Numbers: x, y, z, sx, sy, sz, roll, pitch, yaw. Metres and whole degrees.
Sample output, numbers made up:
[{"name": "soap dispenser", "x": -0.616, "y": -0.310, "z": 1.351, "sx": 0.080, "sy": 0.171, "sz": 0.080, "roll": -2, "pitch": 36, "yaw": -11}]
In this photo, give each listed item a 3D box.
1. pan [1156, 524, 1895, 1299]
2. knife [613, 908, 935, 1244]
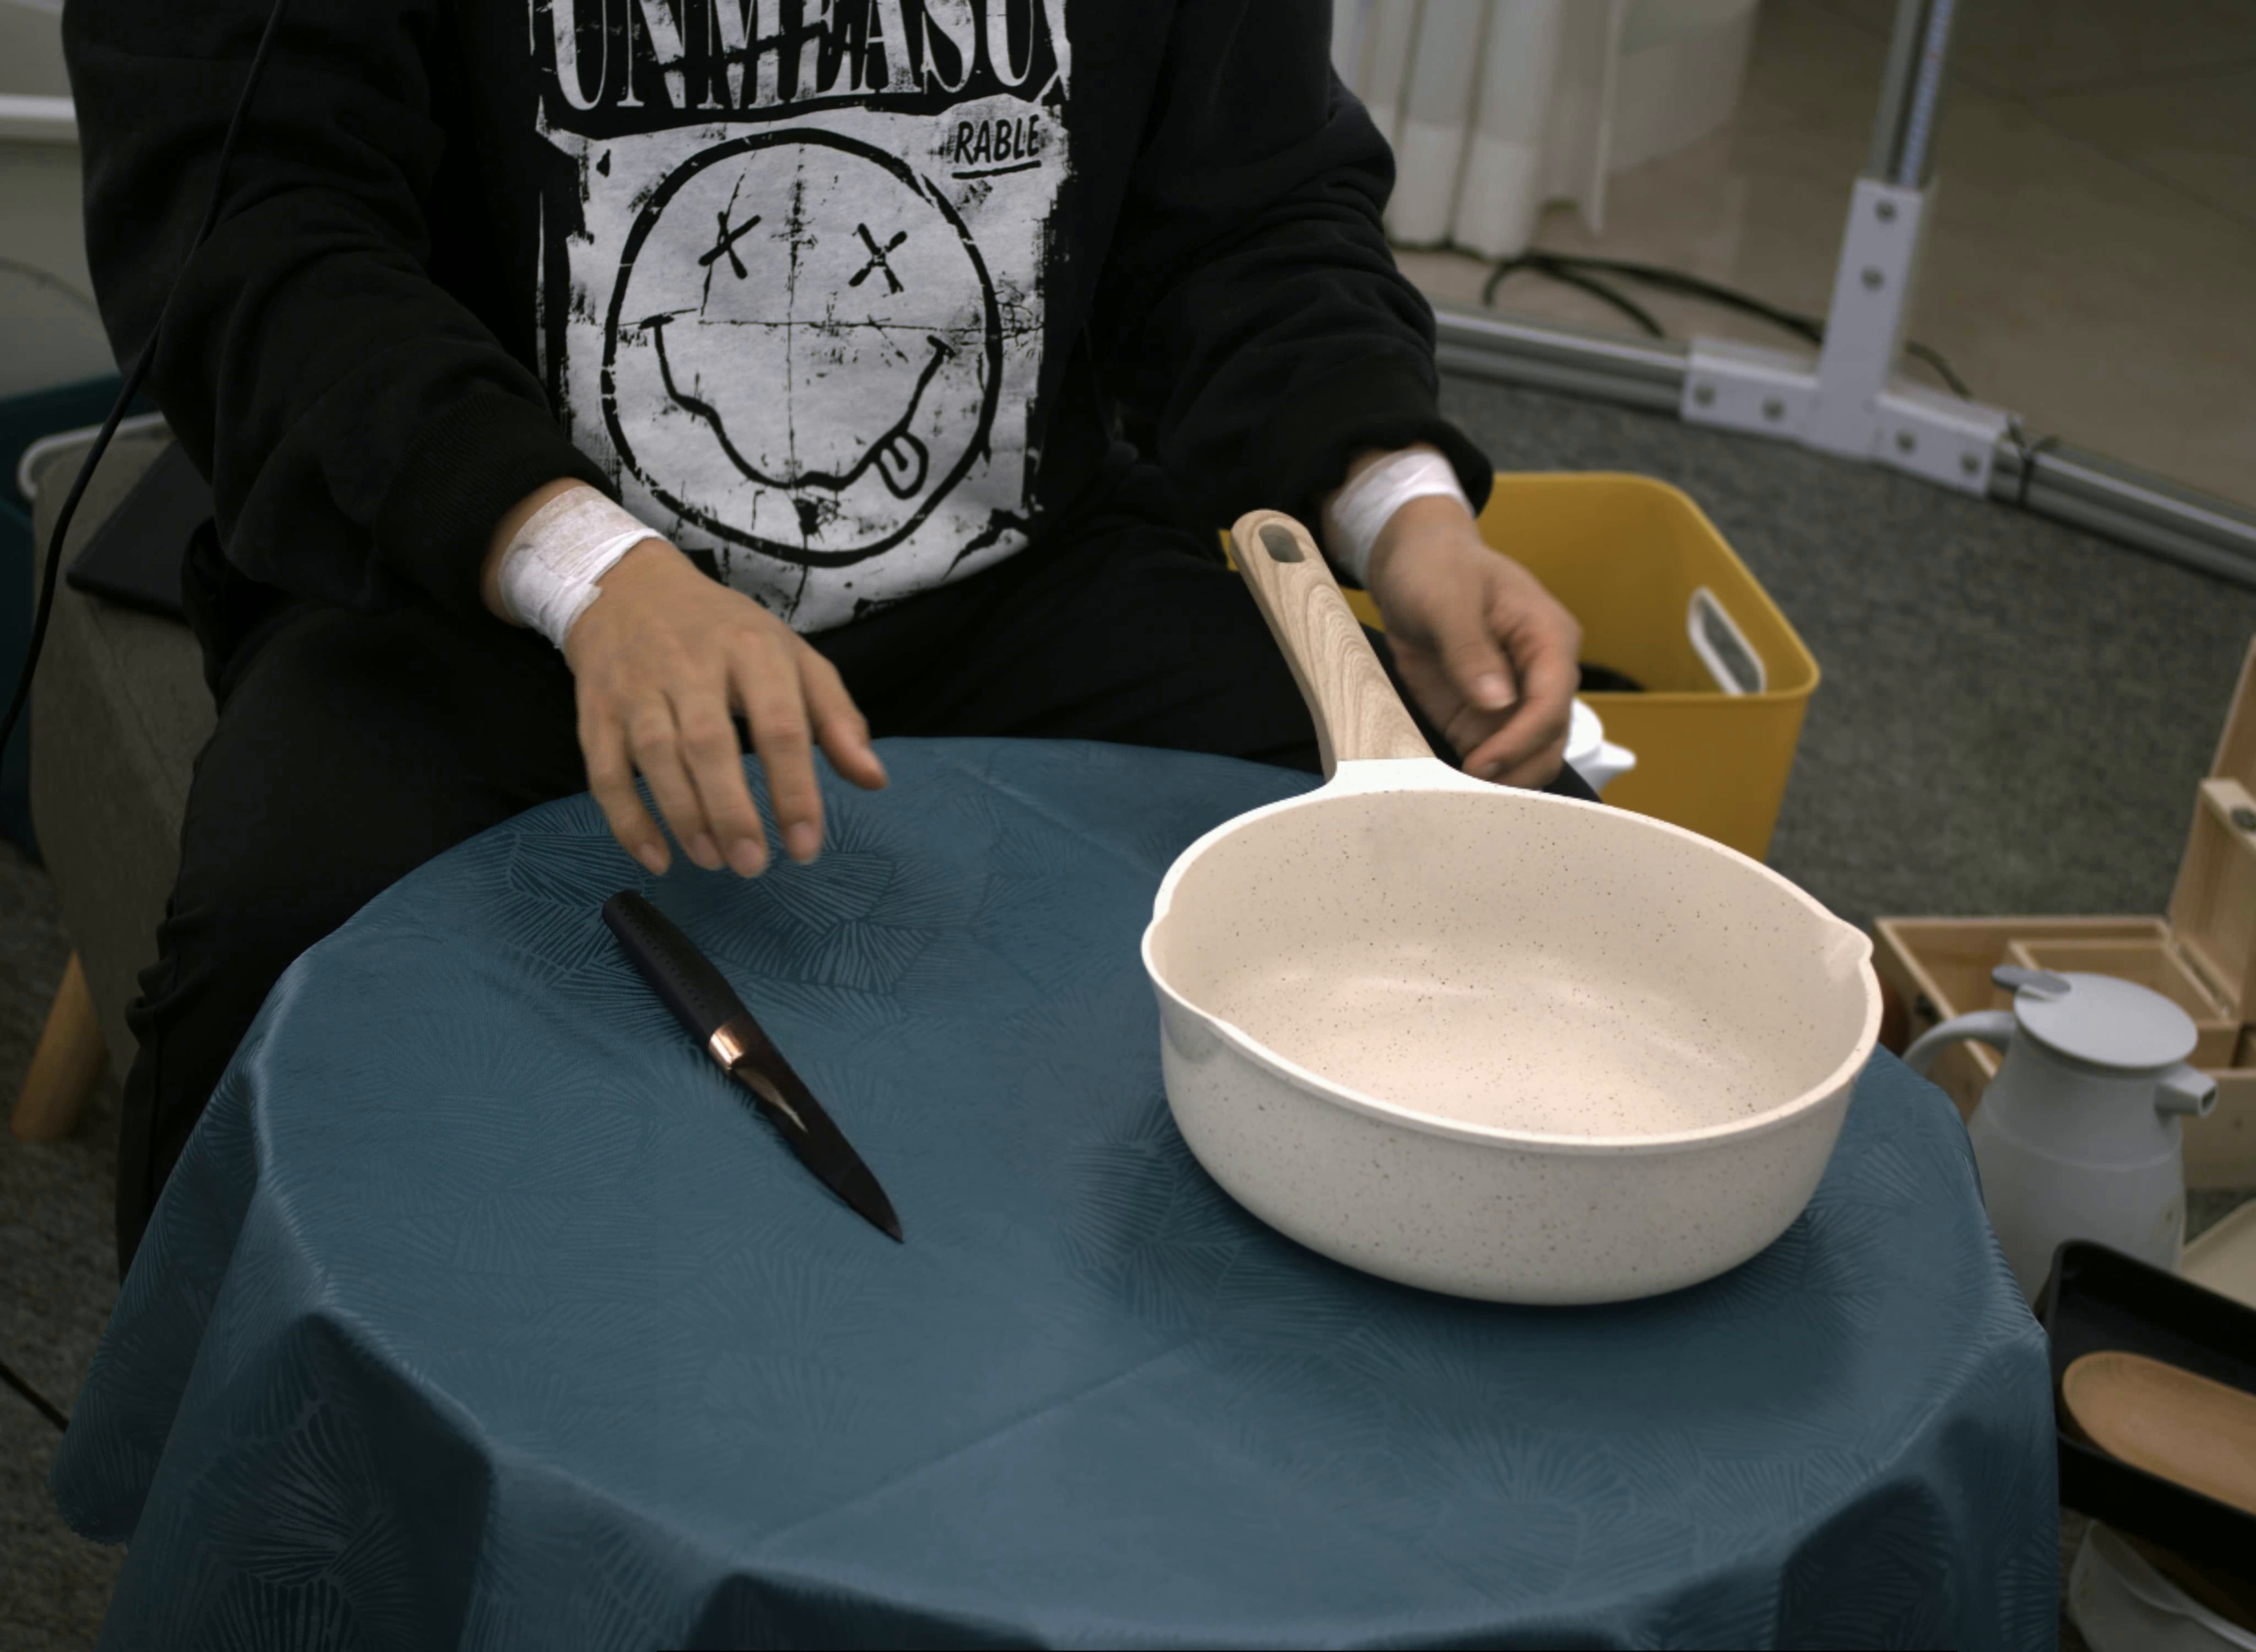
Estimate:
[{"name": "pan", "x": 0.108, "y": 0.028, "z": 1.908, "sx": 0.262, "sy": 0.101, "sz": 0.438, "roll": -4, "pitch": 29, "yaw": -16}, {"name": "knife", "x": -0.125, "y": 0.085, "z": 1.843, "sx": 0.026, "sy": 0.017, "sz": 0.227, "roll": 7, "pitch": 23, "yaw": -36}]
